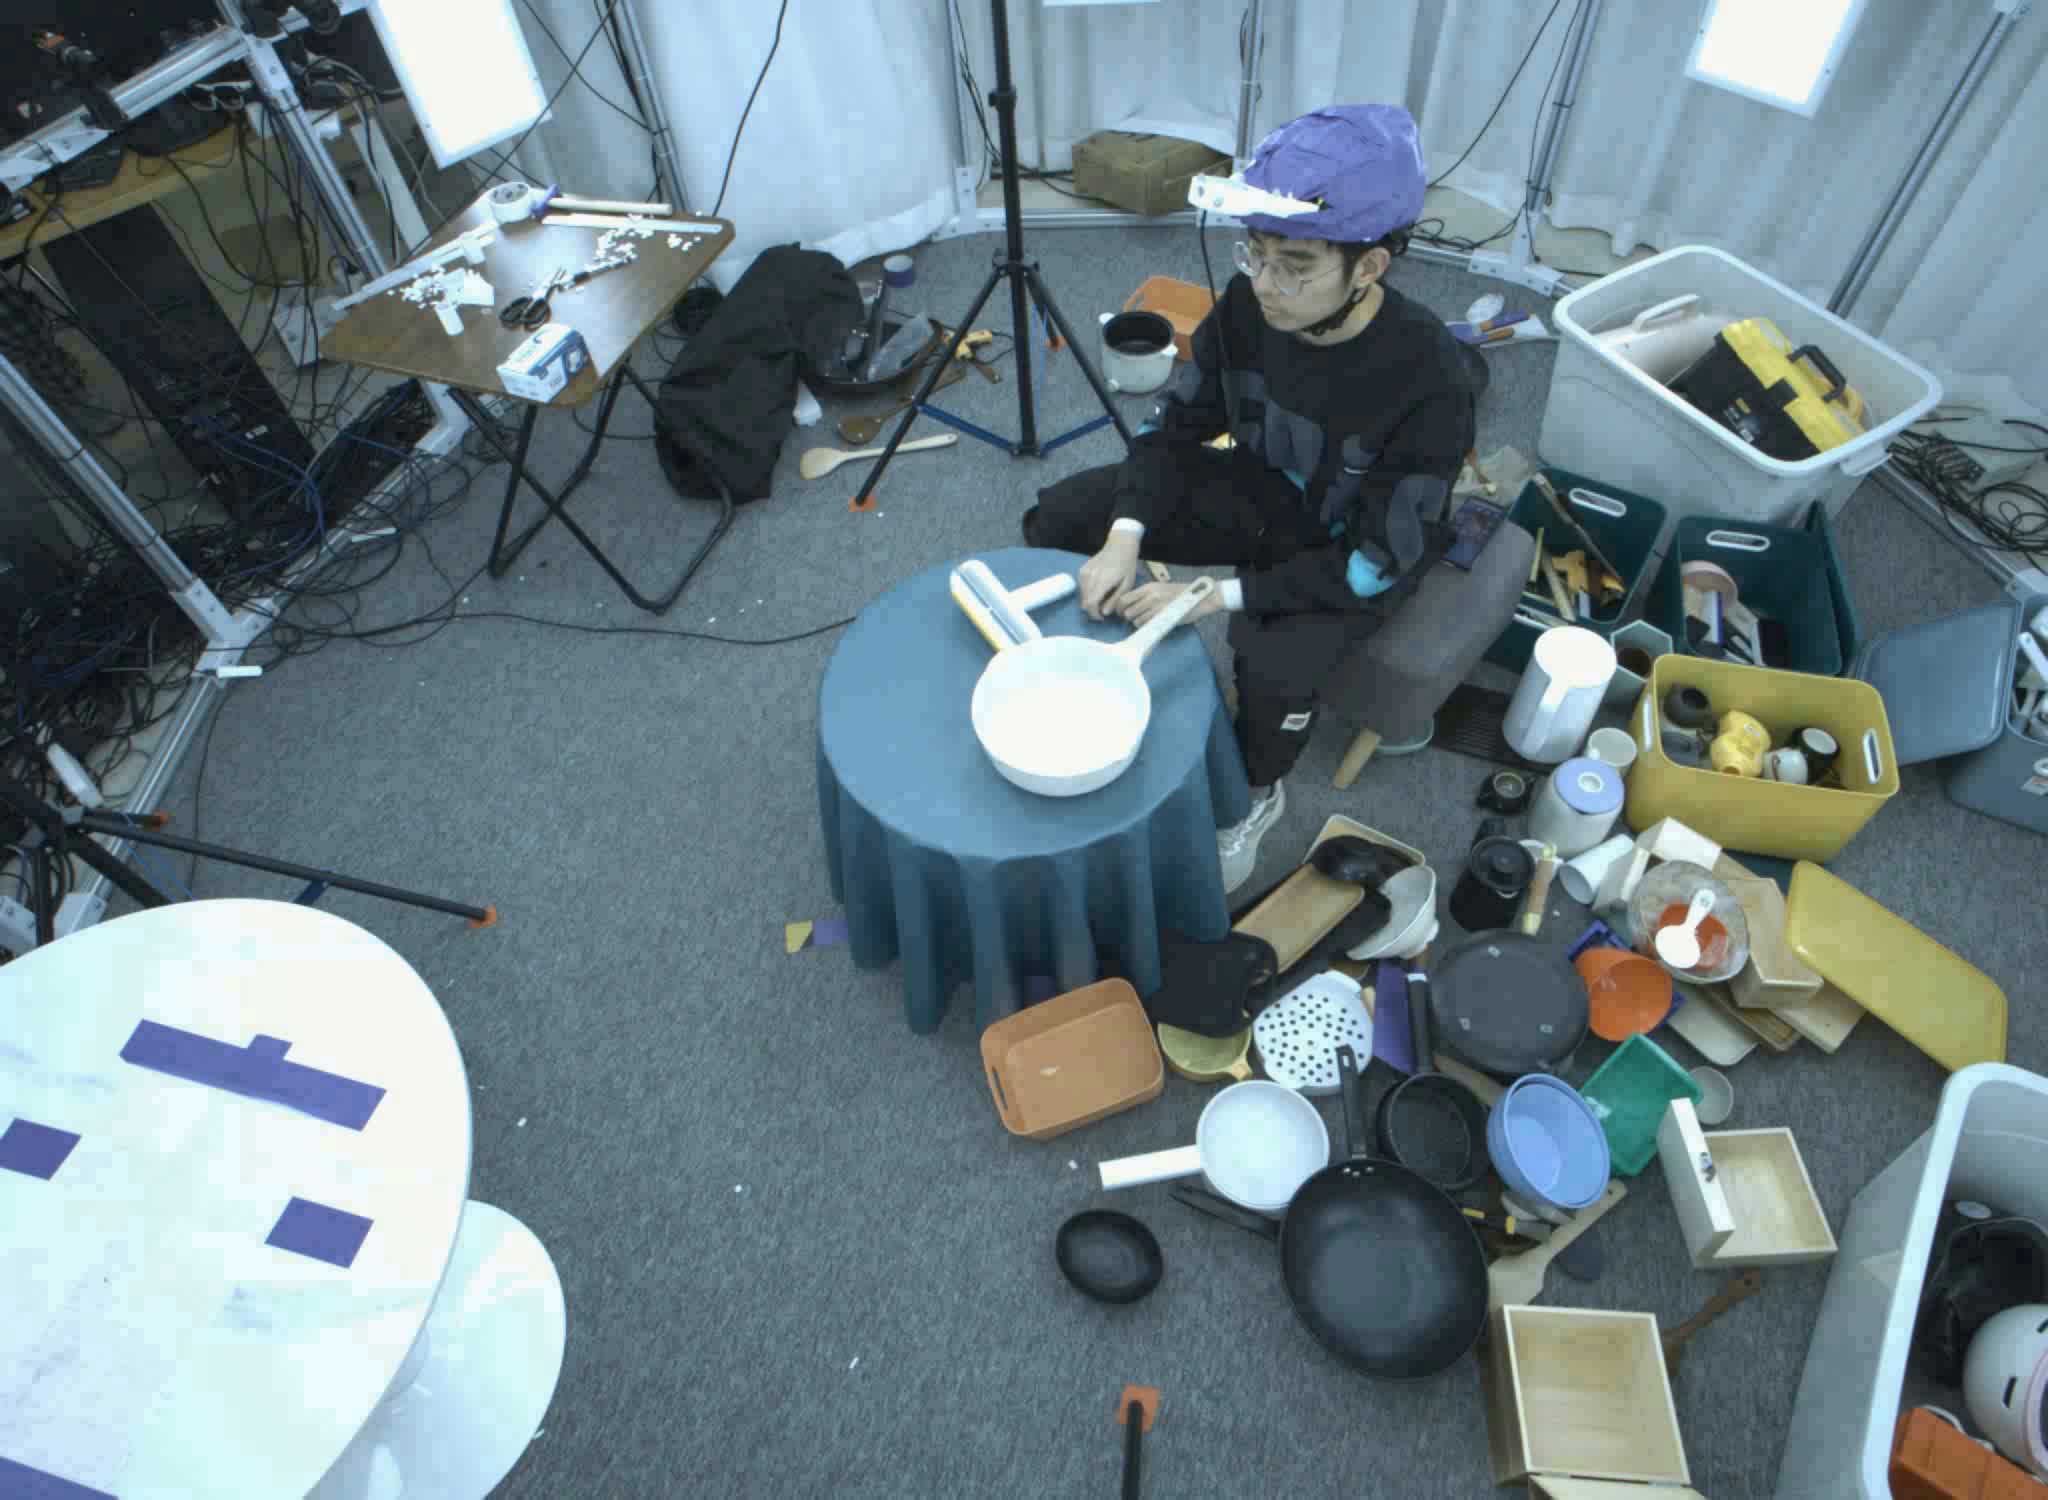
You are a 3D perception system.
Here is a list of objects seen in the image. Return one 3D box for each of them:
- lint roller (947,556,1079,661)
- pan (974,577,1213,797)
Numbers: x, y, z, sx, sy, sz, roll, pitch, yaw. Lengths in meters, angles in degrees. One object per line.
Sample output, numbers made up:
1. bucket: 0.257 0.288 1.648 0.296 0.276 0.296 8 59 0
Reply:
1. lint roller: 0.001 -0.239 1.911 0.194 0.075 0.189 -28 63 -18
2. pan: 0.124 -0.098 1.786 0.438 0.103 0.258 -39 59 -22
